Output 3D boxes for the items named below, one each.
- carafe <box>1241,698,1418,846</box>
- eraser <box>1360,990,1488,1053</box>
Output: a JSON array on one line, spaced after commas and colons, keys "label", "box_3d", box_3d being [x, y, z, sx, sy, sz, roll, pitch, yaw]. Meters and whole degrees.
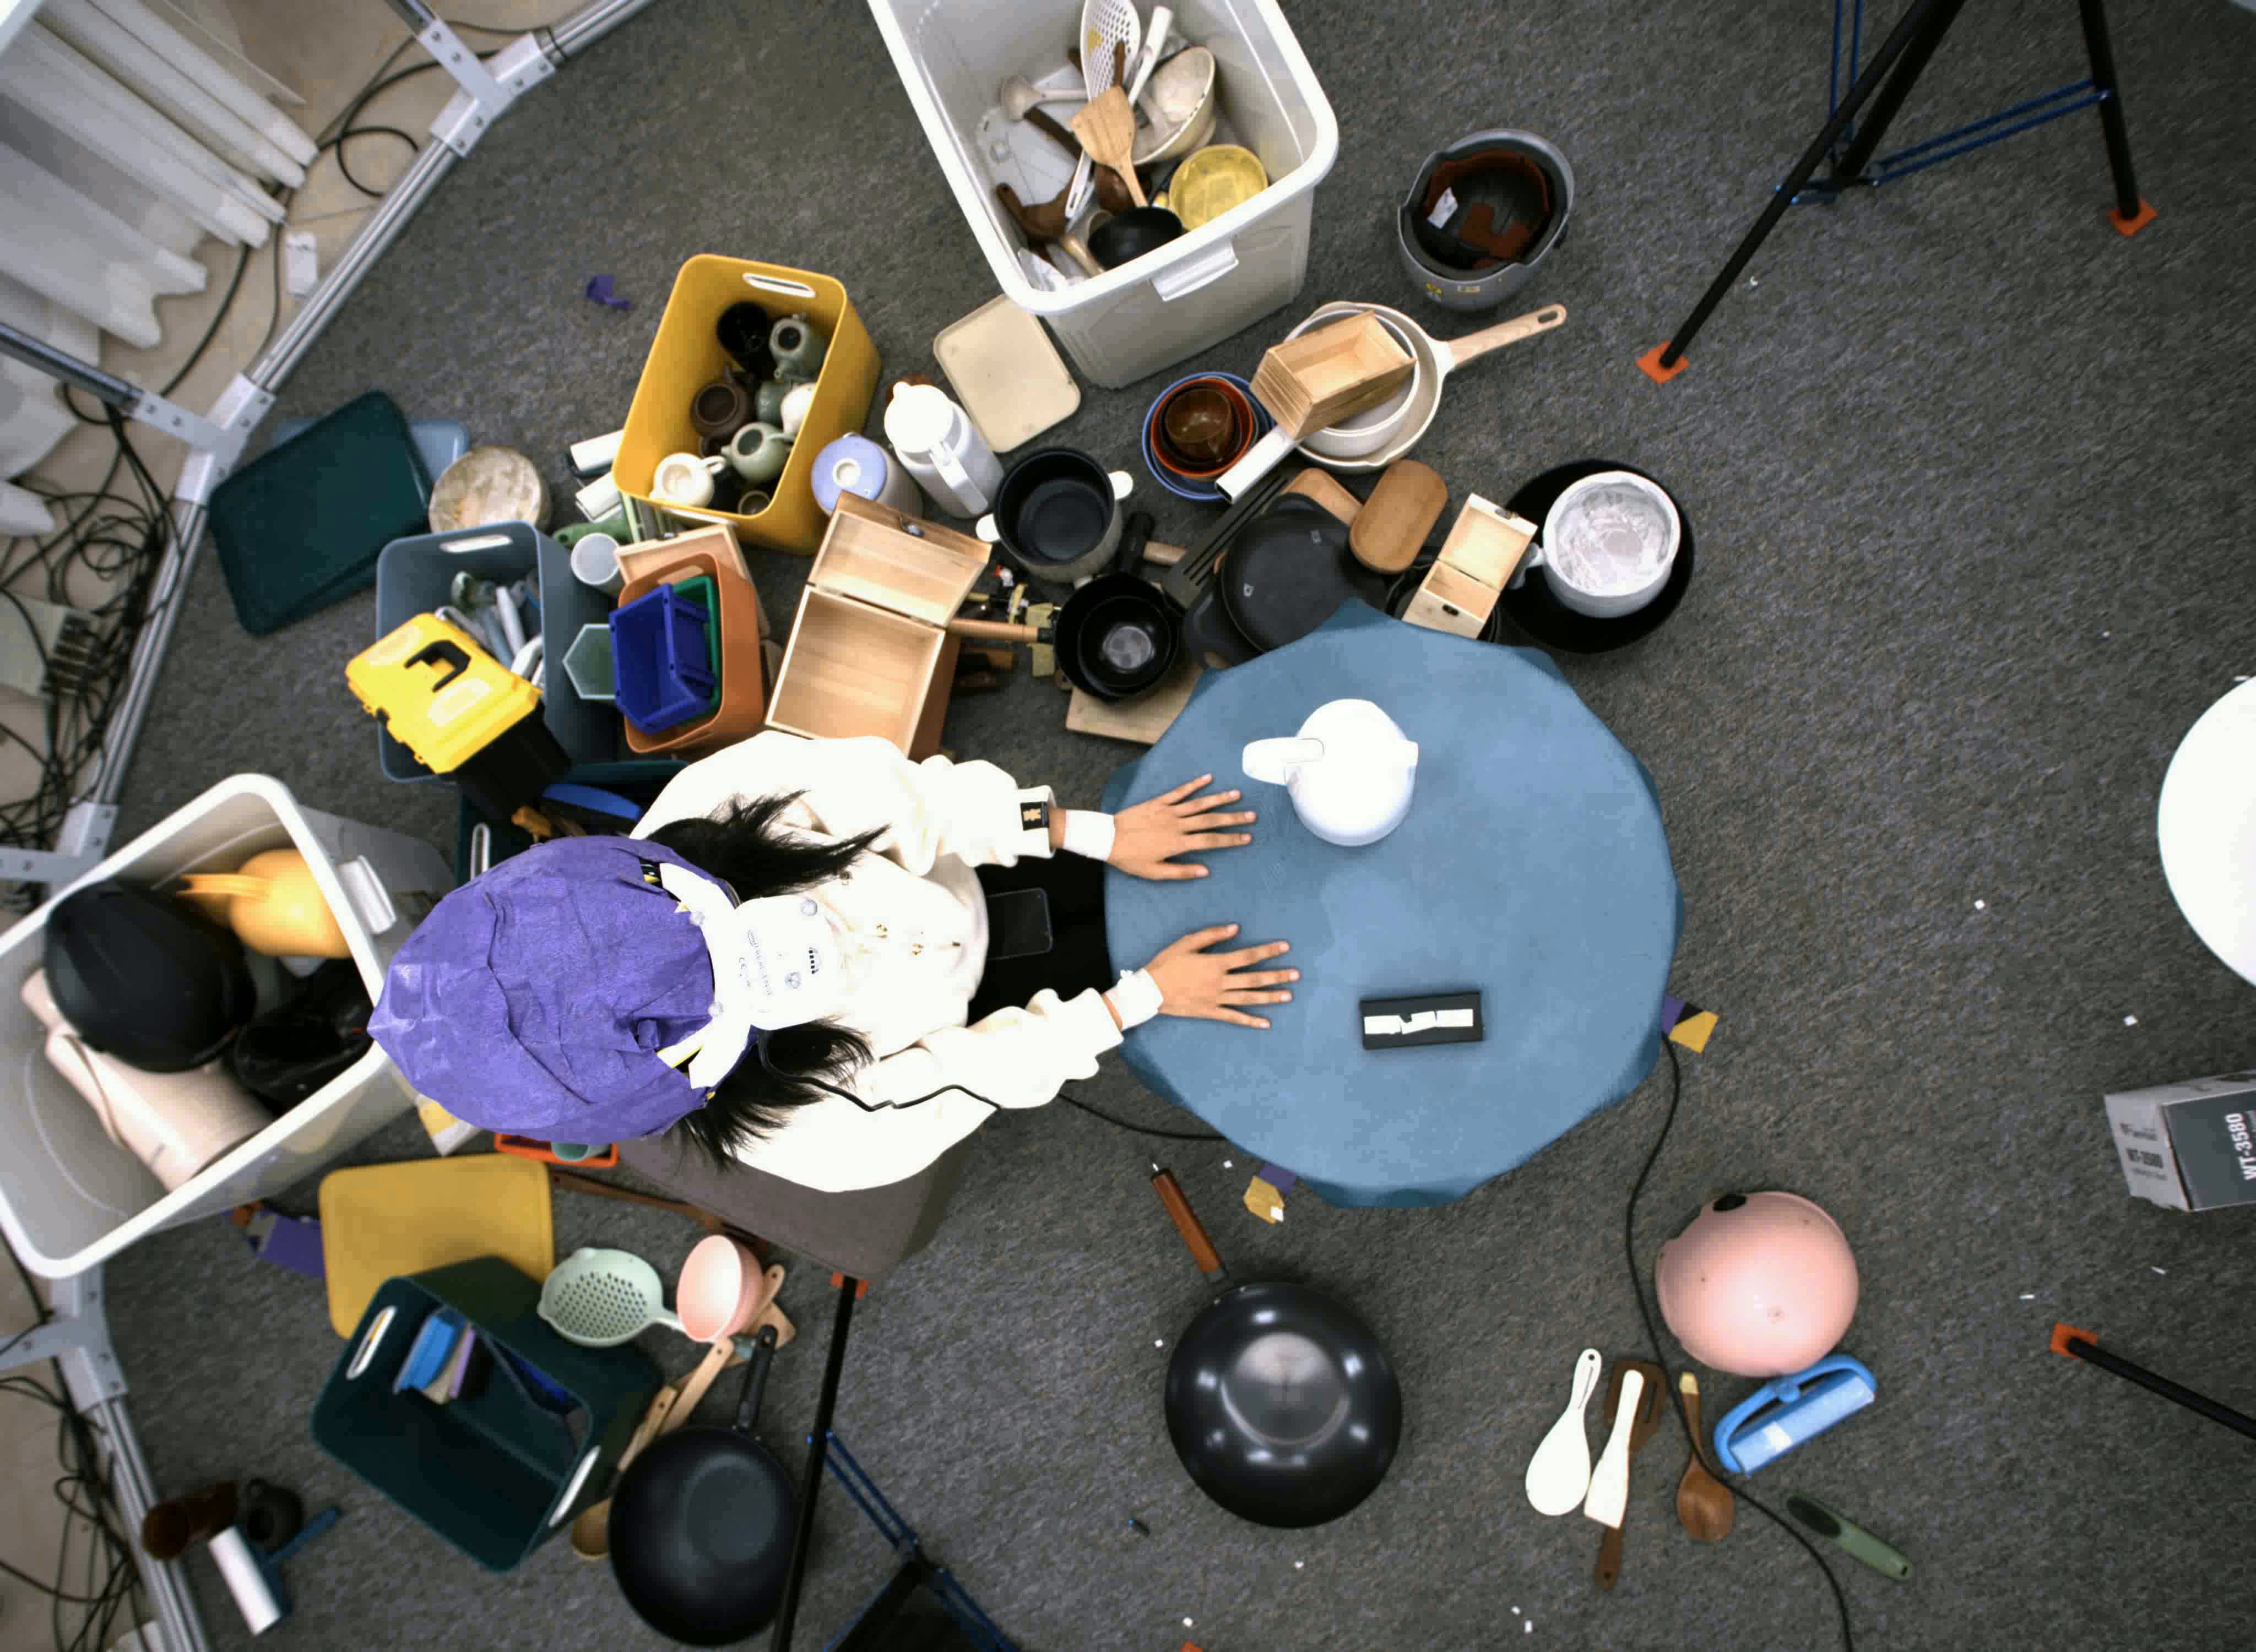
[{"label": "carafe", "box_3d": [0.198, -0.057, 1.354, 0.168, 0.249, 0.132, 1, 85, 11]}, {"label": "eraser", "box_3d": [0.306, 0.201, 1.432, 0.126, 0.030, 0.053, -8, 82, 10]}]
